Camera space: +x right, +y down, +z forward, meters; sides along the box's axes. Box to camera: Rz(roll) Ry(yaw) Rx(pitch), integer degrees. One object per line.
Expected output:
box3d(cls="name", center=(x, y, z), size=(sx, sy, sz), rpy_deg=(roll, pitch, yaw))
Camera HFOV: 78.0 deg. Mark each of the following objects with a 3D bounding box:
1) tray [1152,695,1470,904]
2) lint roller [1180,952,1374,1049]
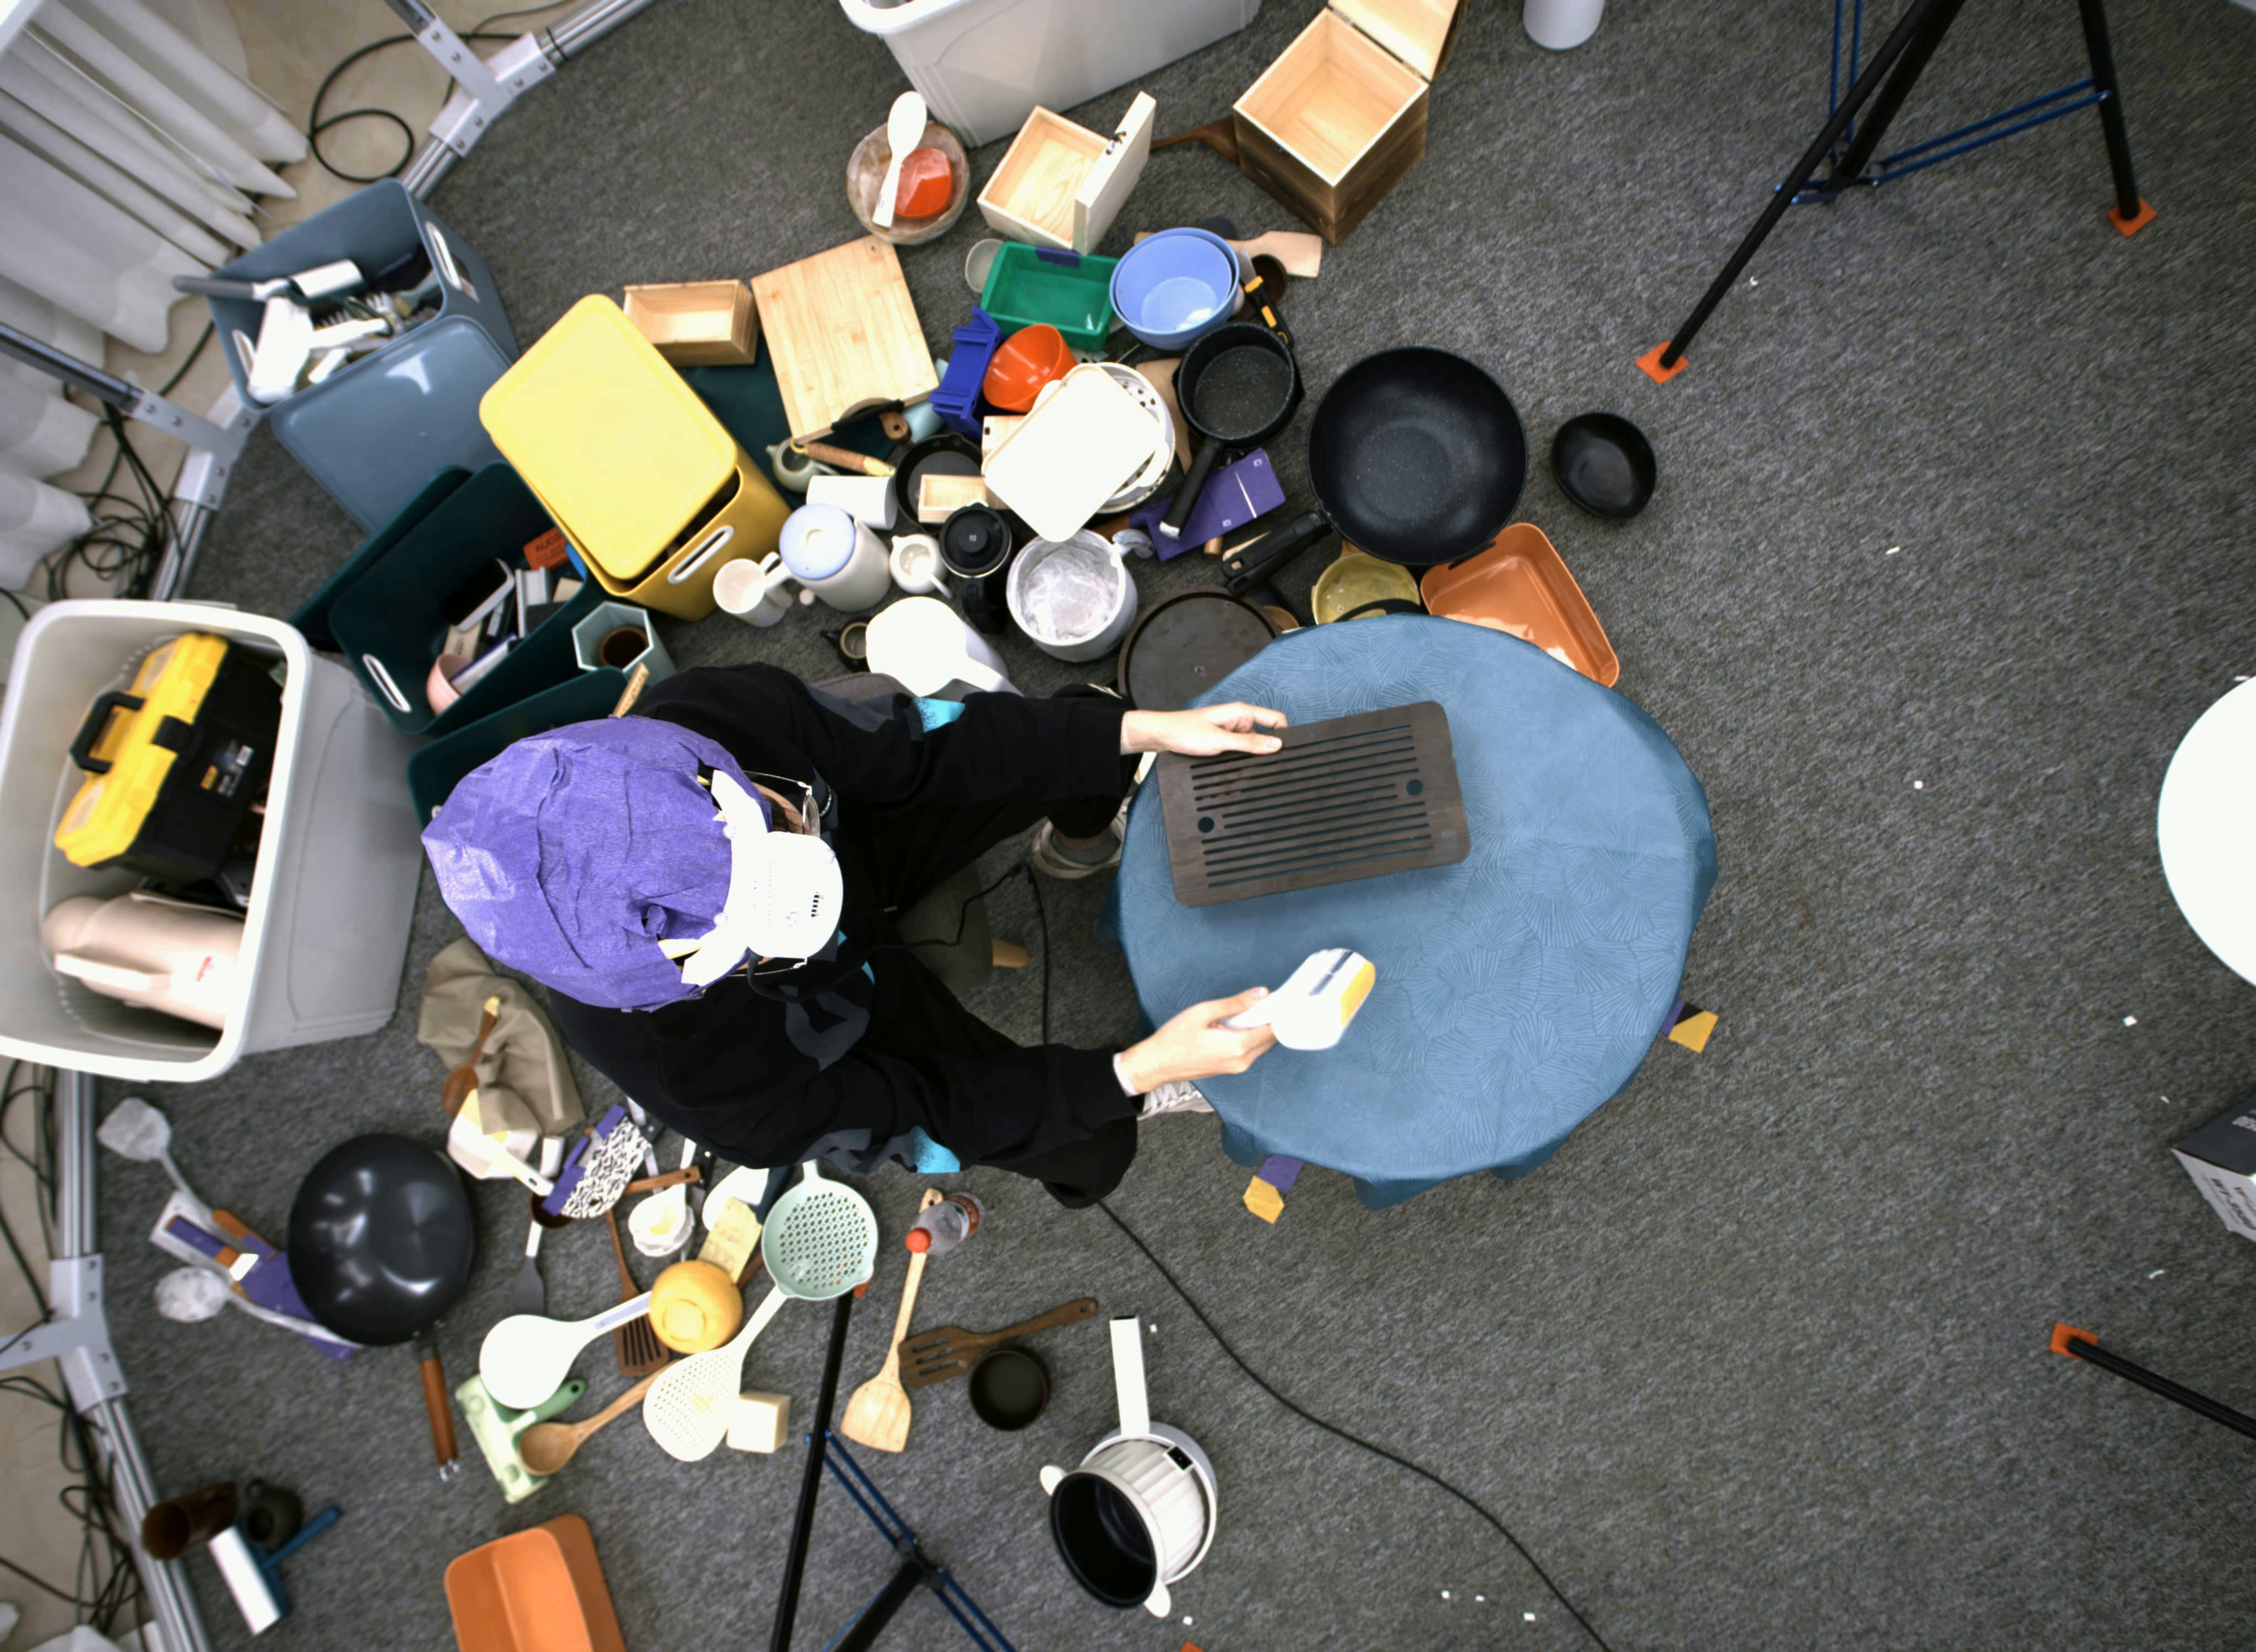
box3d(cls="tray", center=(0.184, -0.026, 1.415), size=(0.308, 0.019, 0.168), rpy_deg=(-10, 80, 12))
box3d(cls="lint roller", center=(0.134, 0.180, 1.368), size=(0.194, 0.190, 0.074), rpy_deg=(-11, 98, 28))
